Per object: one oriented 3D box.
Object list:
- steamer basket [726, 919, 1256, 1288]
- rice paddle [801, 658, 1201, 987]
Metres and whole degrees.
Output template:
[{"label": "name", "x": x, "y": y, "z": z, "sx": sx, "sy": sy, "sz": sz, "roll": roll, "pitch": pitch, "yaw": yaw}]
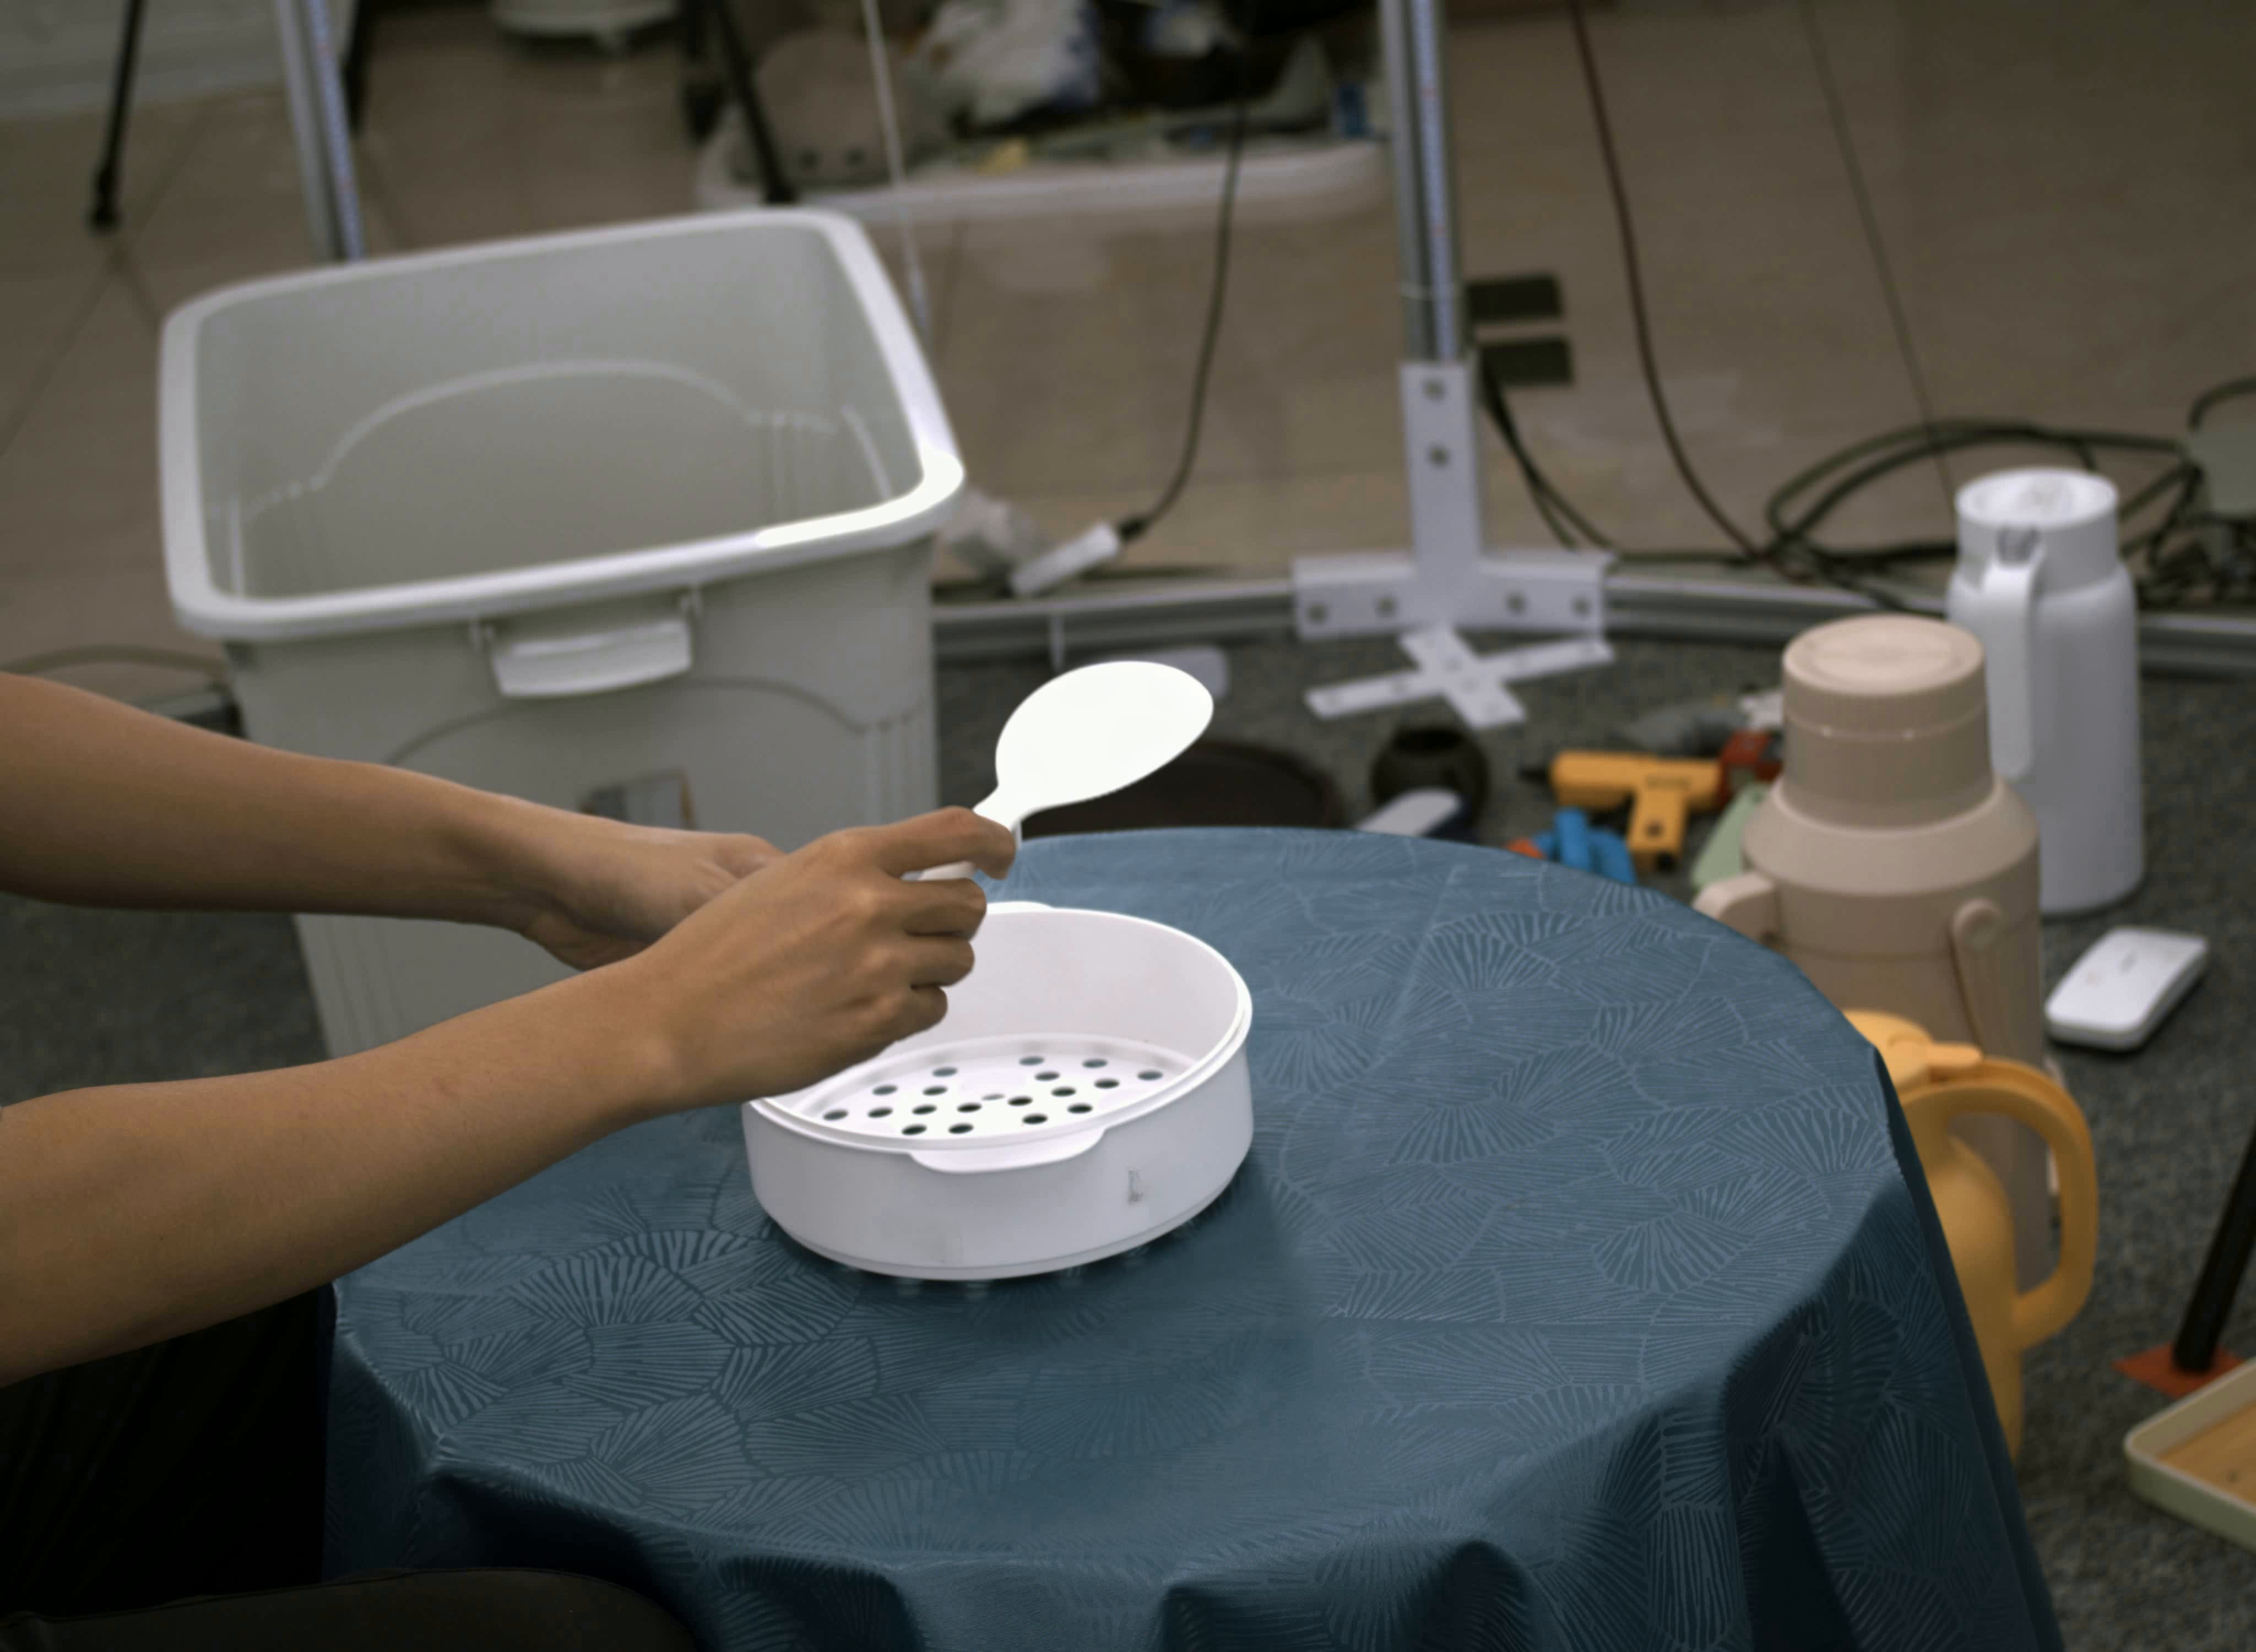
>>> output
[{"label": "steamer basket", "x": -0.050, "y": 0.106, "z": 2.155, "sx": 0.201, "sy": 0.070, "sz": 0.227, "roll": -6, "pitch": 23, "yaw": -3}, {"label": "rice paddle", "x": -0.044, "y": -0.010, "z": 2.014, "sx": 0.068, "sy": 0.030, "sz": 0.203, "roll": 21, "pitch": 43, "yaw": 28}]
